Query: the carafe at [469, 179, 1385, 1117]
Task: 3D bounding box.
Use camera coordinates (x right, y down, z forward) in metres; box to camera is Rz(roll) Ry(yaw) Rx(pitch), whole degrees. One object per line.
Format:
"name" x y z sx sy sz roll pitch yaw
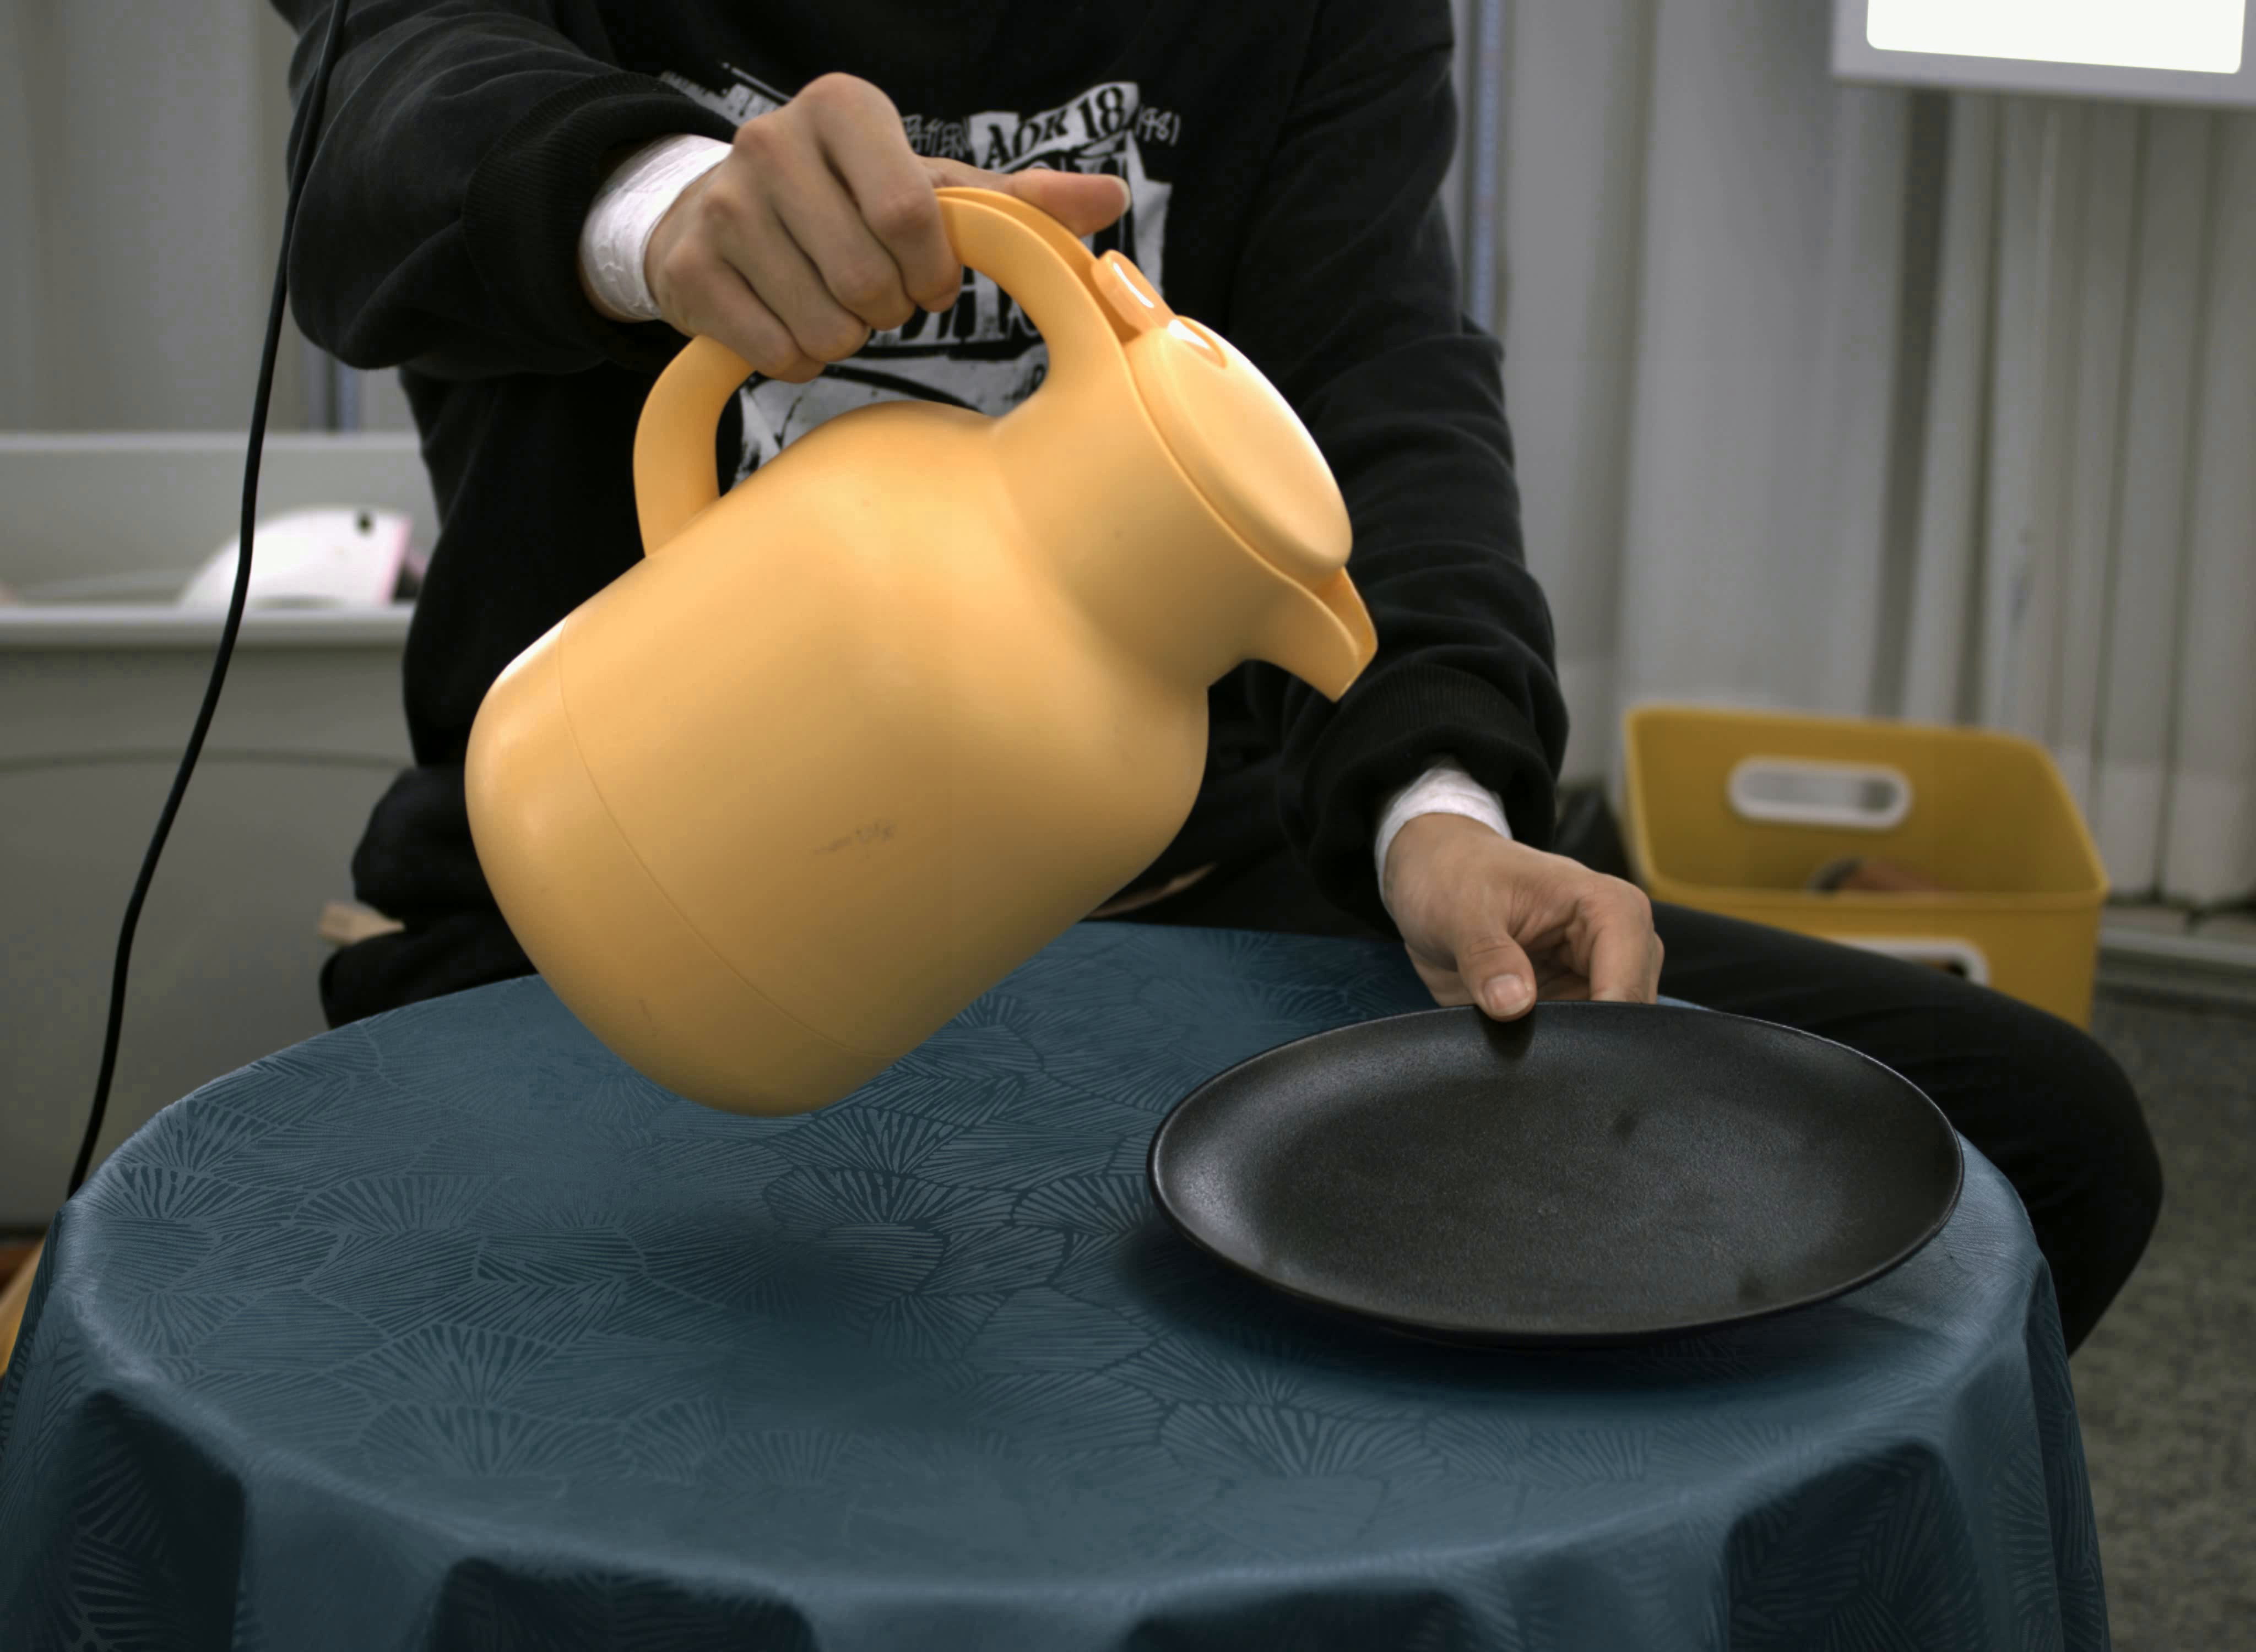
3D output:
"carafe" -0.066 -0.057 1.516 0.260 0.202 0.163 -37 0 18

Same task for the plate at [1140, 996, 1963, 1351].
"plate" 0.126 0.107 1.571 0.243 0.023 0.243 -1 21 1
